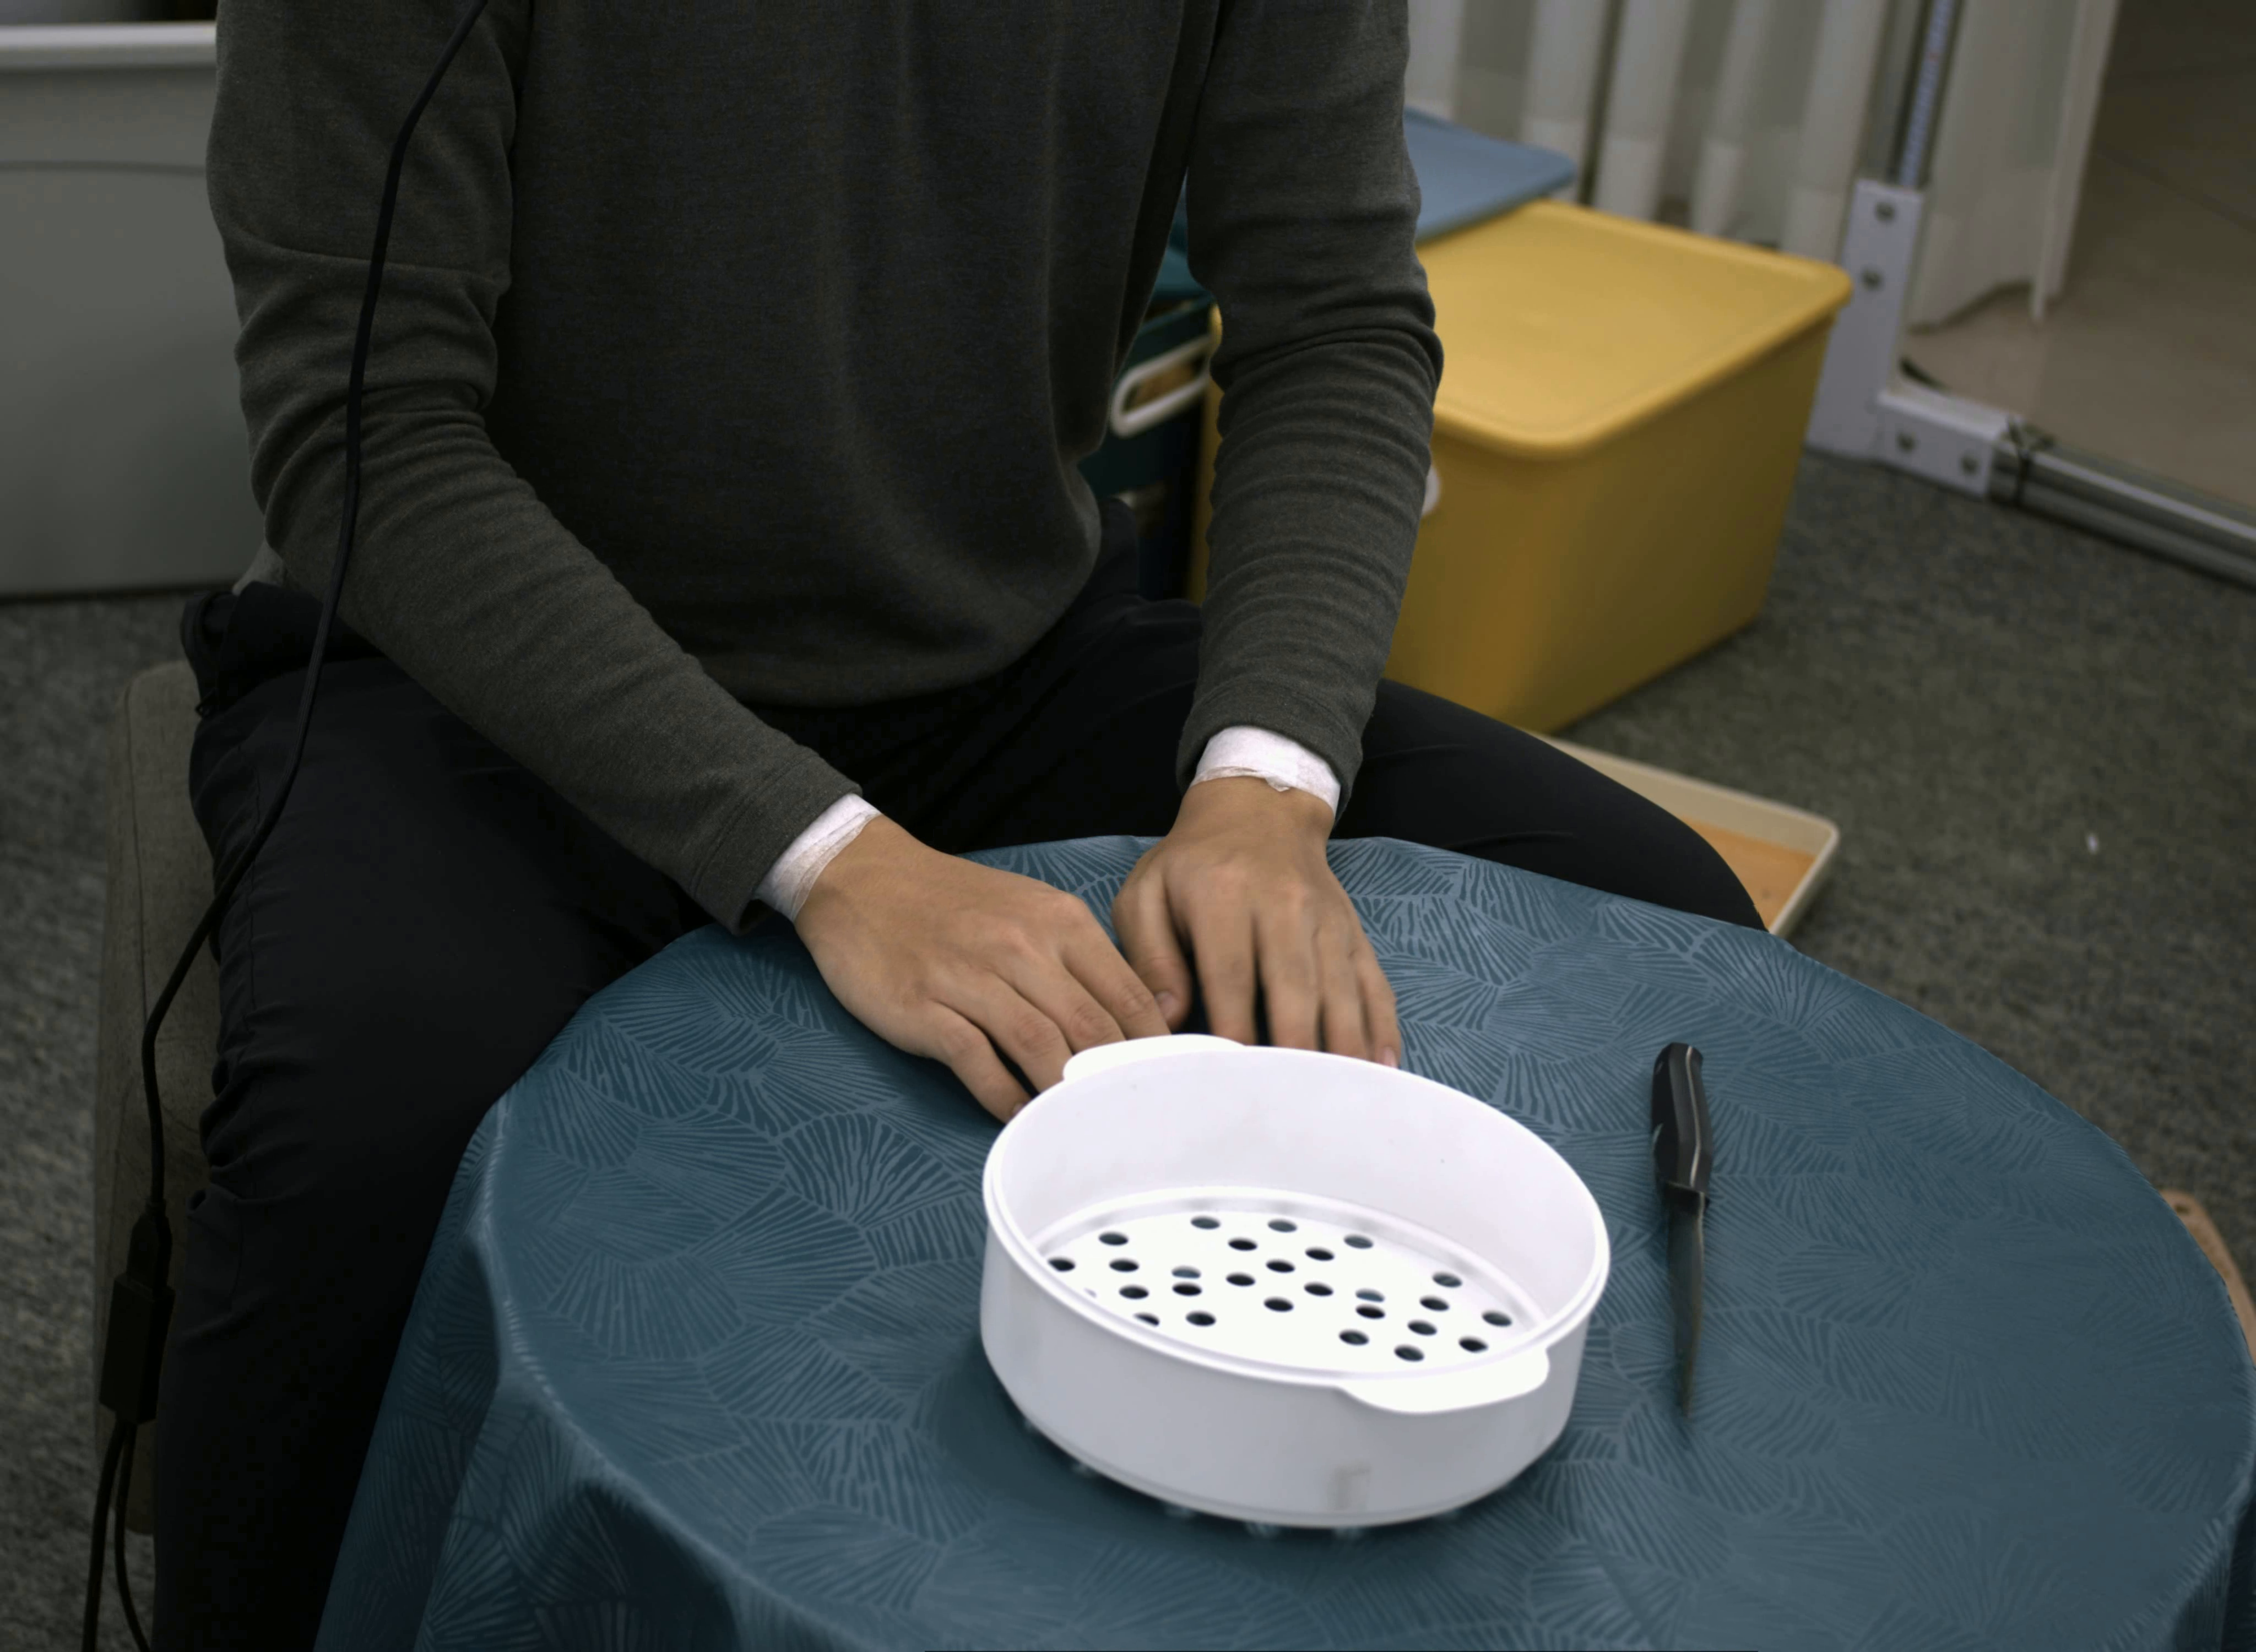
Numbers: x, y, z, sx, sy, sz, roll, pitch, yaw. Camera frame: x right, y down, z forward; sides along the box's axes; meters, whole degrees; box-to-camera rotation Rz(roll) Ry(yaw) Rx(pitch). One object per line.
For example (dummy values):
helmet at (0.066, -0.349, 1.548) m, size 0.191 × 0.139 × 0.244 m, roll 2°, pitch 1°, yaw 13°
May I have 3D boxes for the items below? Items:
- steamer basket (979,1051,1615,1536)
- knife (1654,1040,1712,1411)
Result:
steamer basket at (0.052, 0.150, 1.693) m, size 0.200 × 0.069 × 0.232 m, roll -7°, pitch 28°, yaw -26°
knife at (0.189, 0.136, 1.802) m, size 0.016 × 0.024 × 0.239 m, roll 24°, pitch 25°, yaw -7°
